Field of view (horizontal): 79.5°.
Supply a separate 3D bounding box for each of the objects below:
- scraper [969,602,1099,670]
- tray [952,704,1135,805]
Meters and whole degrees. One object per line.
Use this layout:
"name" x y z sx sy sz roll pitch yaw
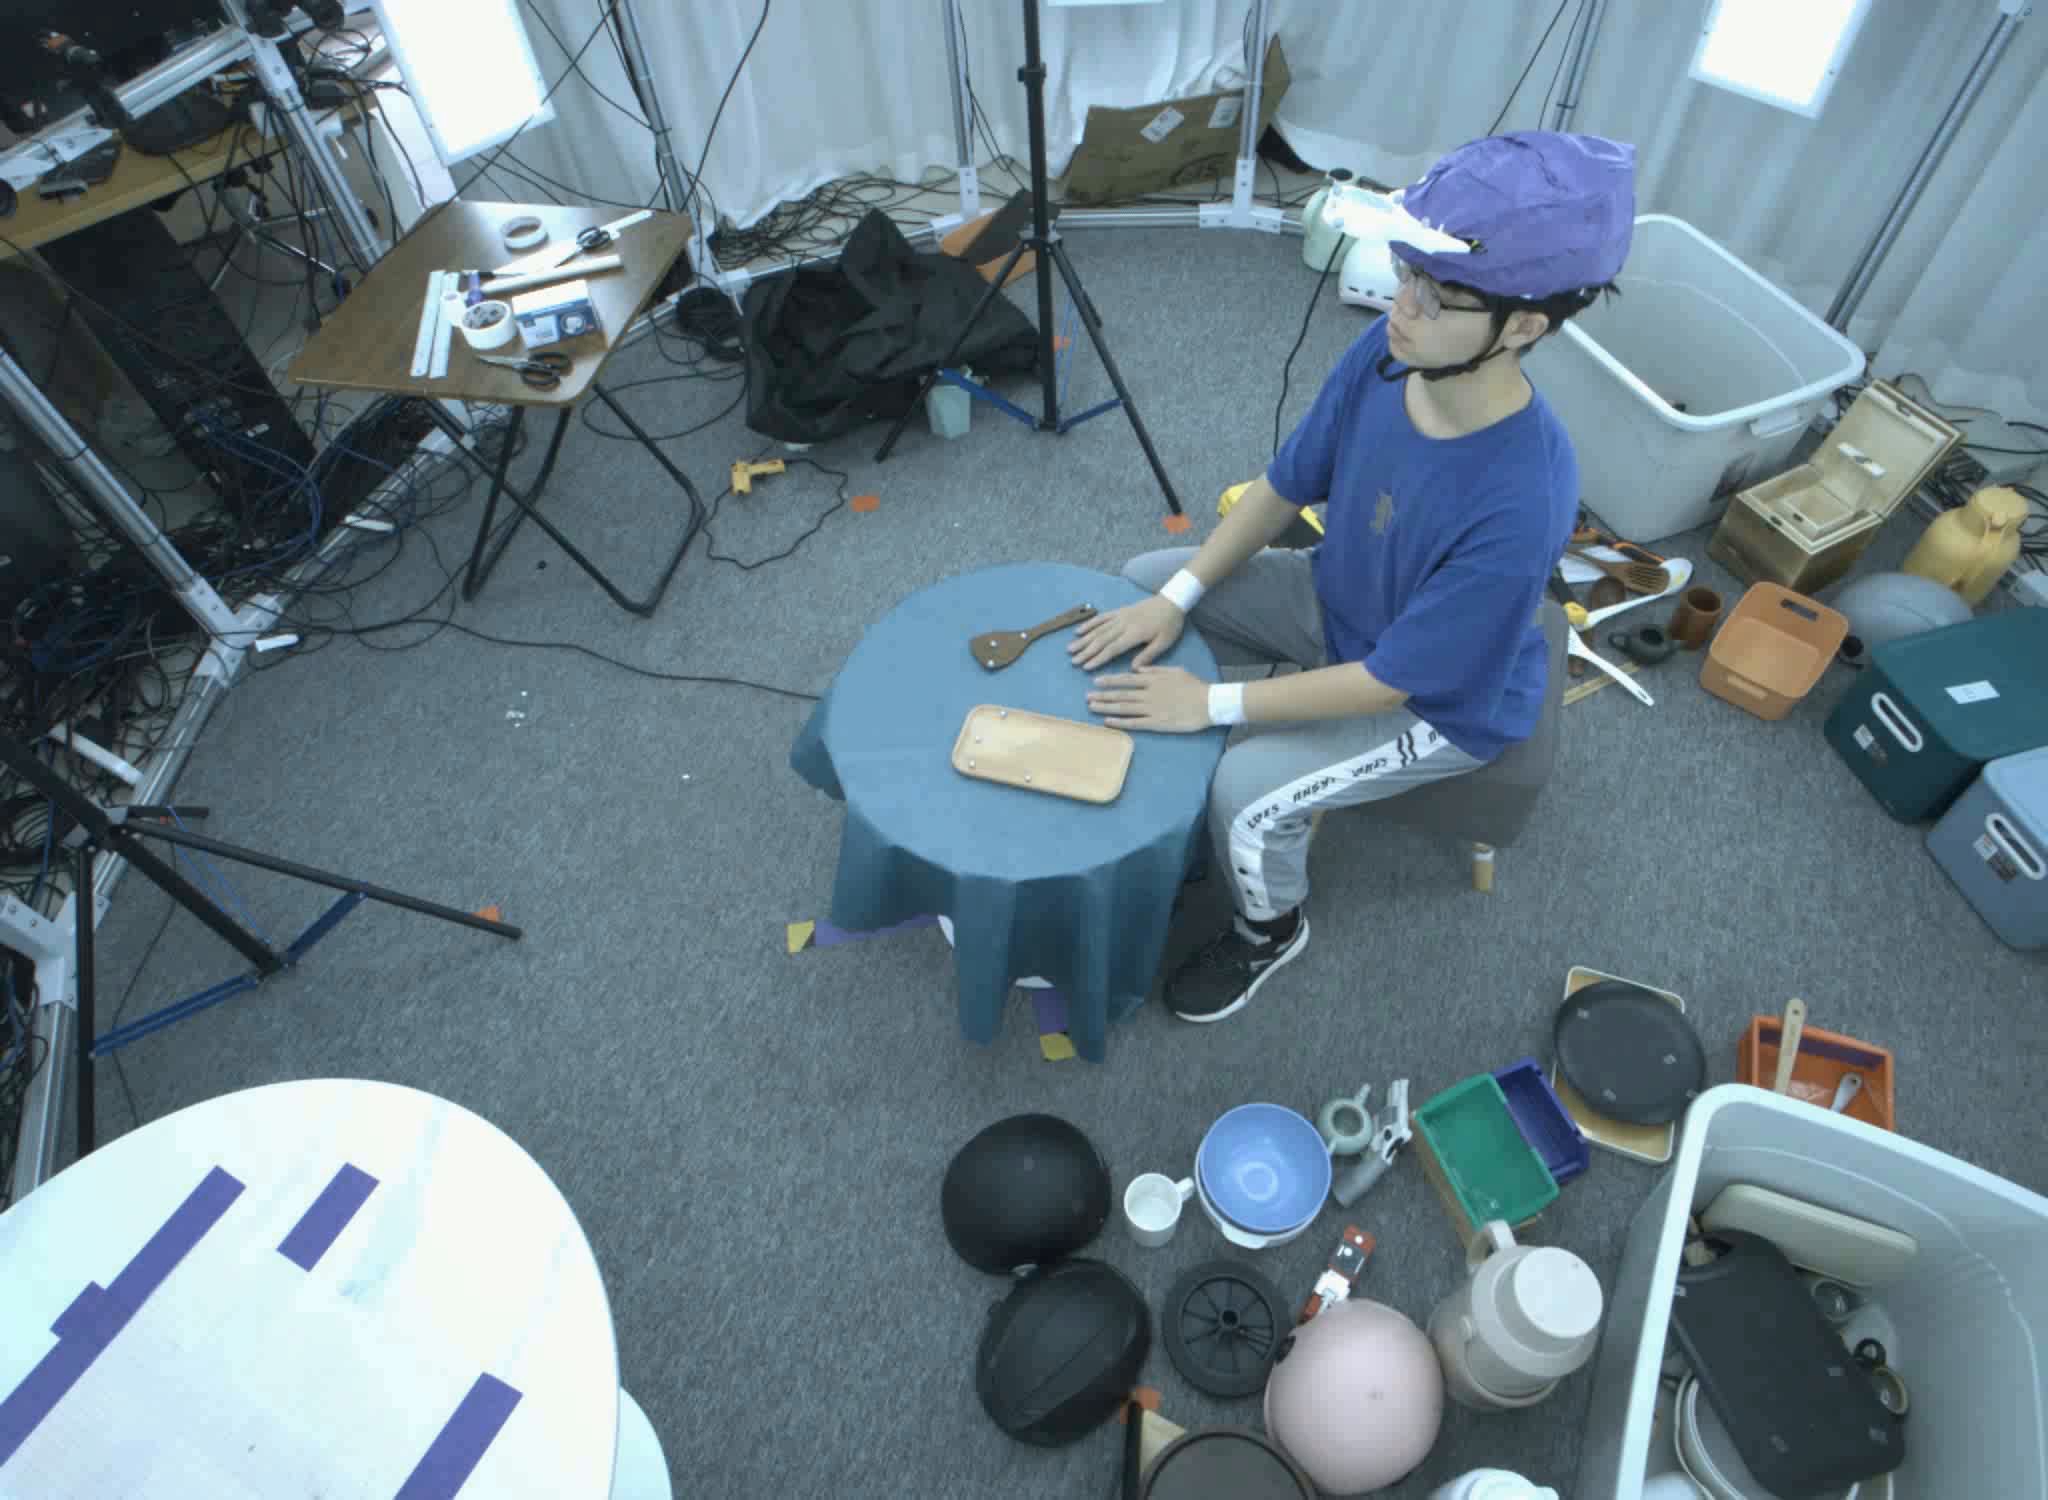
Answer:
"scraper" 0.019 -0.184 1.904 0.213 0.011 0.074 -24 58 -15
"tray" 0.028 0.005 1.763 0.248 0.023 0.130 13 58 11
